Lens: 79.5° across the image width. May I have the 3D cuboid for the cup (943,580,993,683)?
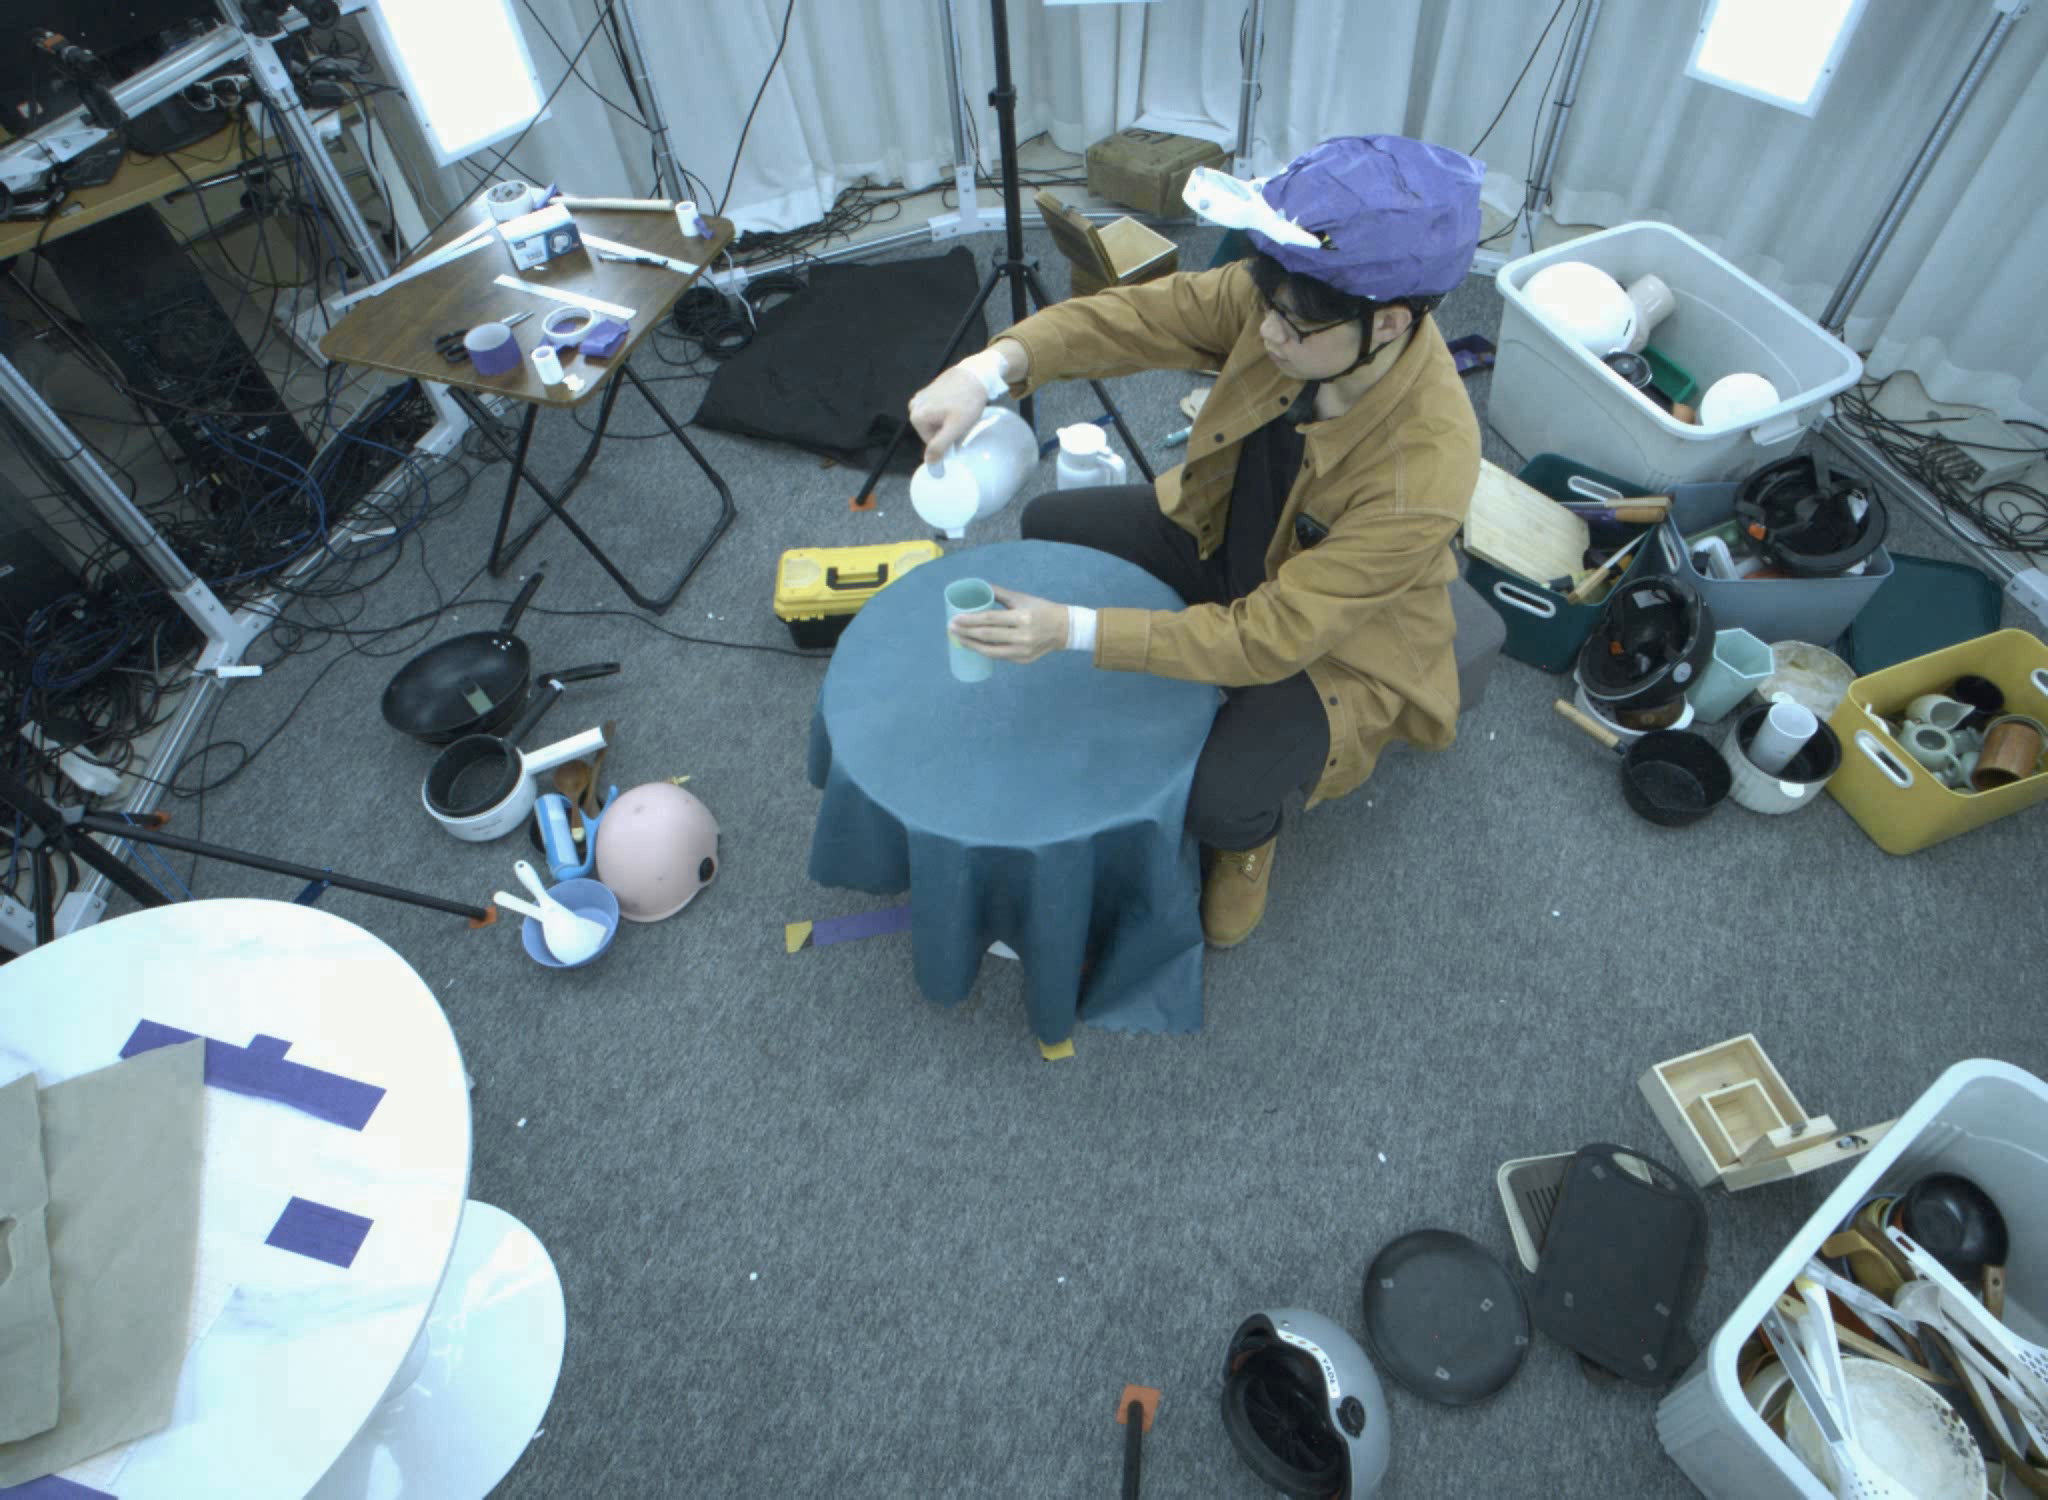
[{"bbox_3d":[-0.073,-0.159,1.649,0.067,0.133,0.066,1,48,1],"label":"cup"}]

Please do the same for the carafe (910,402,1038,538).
[{"bbox_3d":[-0.079,-0.390,1.622,0.131,0.169,0.248,-2,26,17],"label":"carafe"}]
